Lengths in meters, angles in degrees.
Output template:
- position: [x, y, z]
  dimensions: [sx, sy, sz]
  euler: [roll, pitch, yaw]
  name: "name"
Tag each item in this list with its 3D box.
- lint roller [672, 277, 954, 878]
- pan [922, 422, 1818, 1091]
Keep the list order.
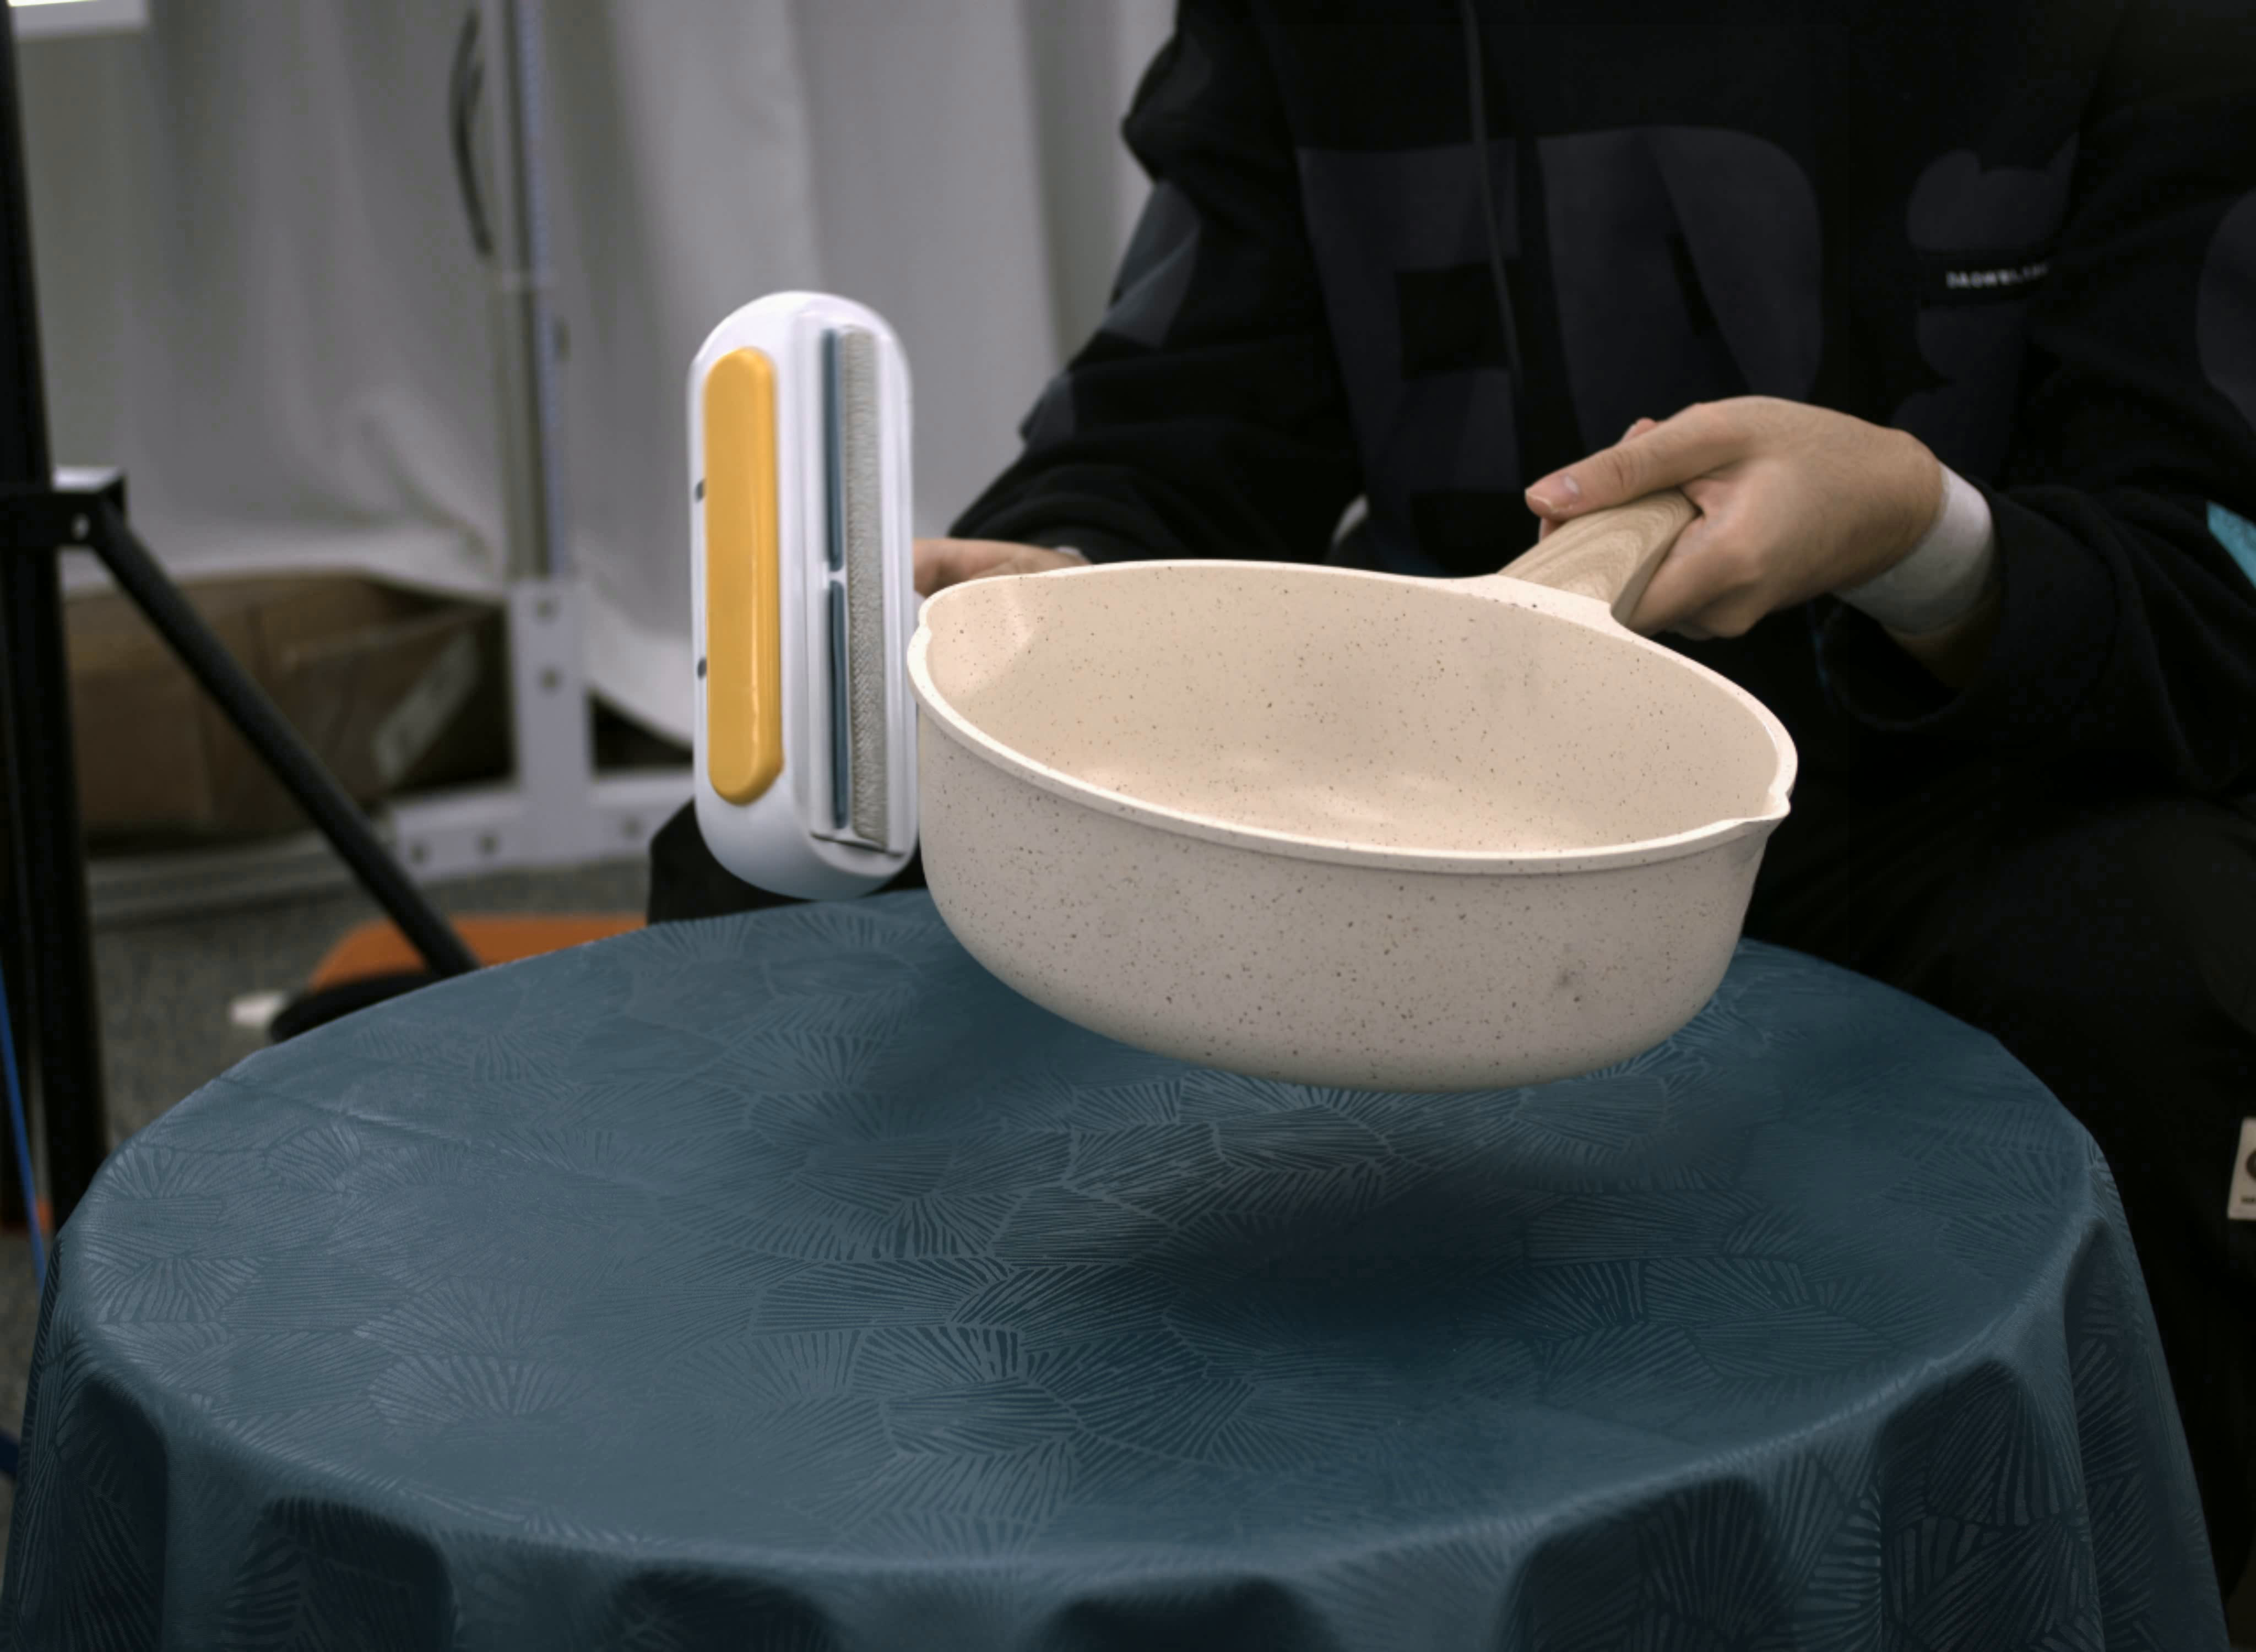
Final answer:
- position: [-0.078, -0.062, 1.723]
  dimensions: [0.075, 0.195, 0.187]
  euler: [-18, -23, 29]
  name: "lint roller"
- position: [0.105, -0.028, 1.568]
  dimensions: [0.267, 0.102, 0.428]
  euler: [13, 20, 25]
  name: "pan"
